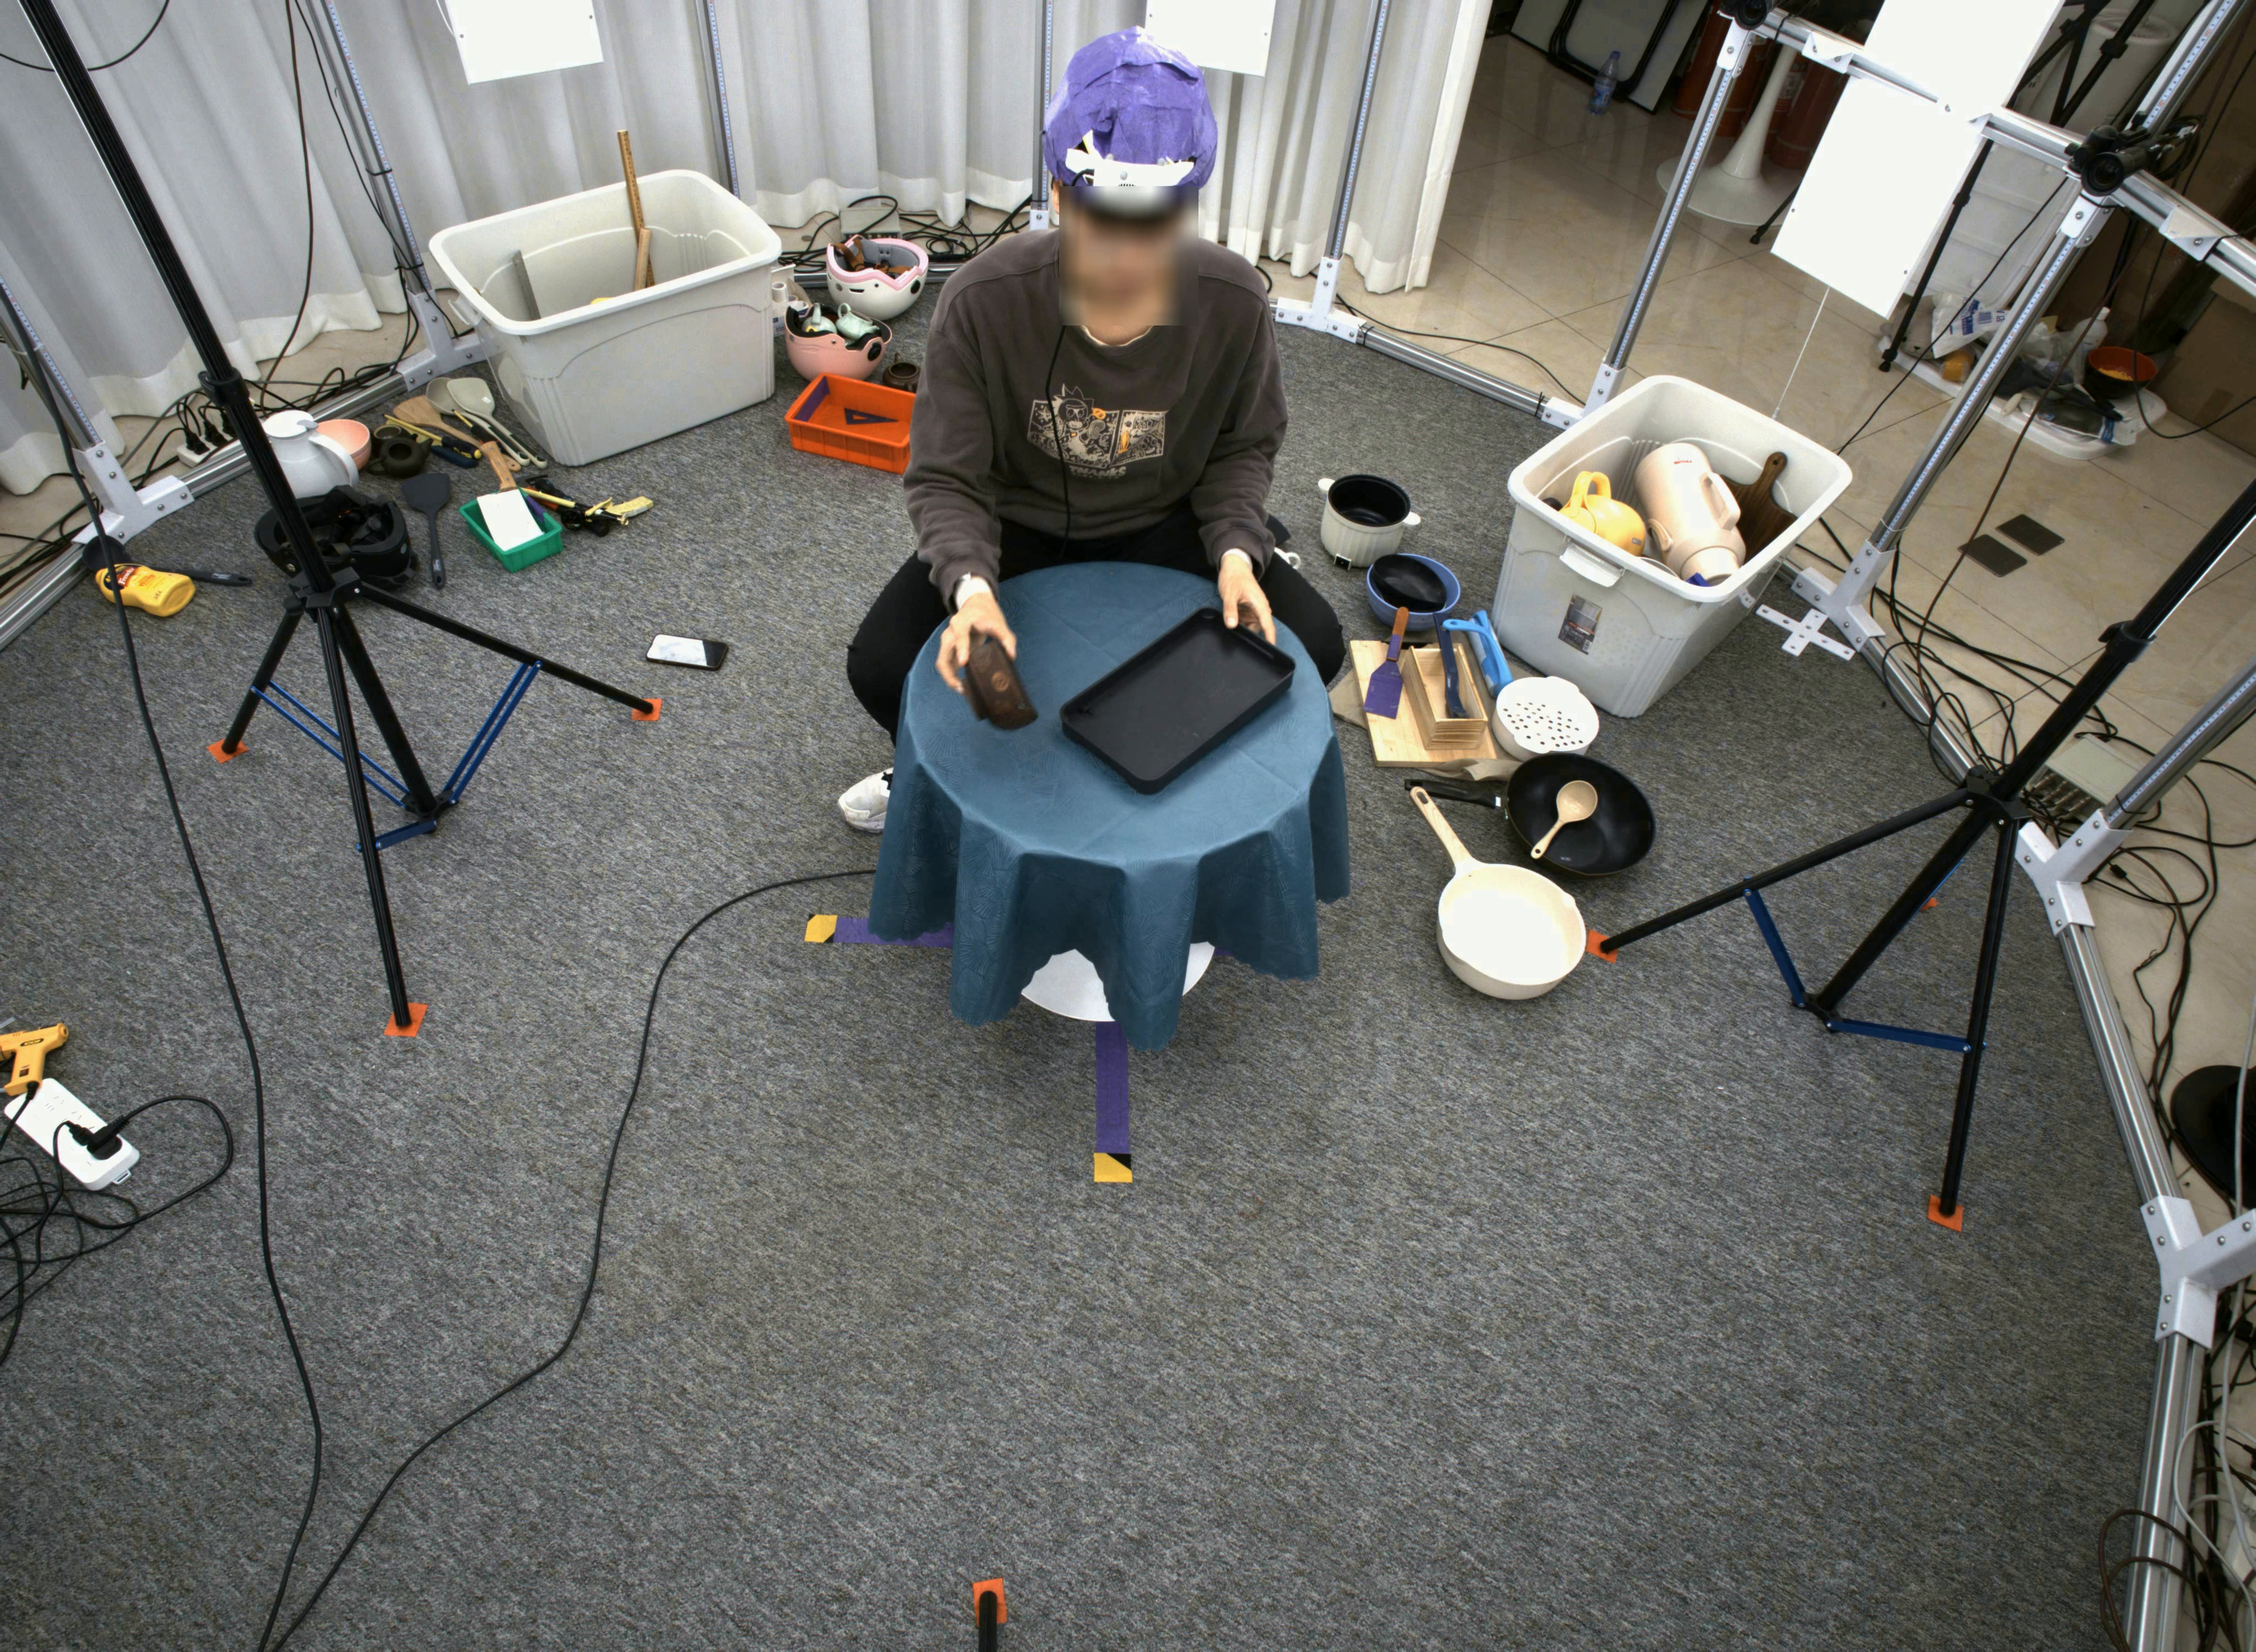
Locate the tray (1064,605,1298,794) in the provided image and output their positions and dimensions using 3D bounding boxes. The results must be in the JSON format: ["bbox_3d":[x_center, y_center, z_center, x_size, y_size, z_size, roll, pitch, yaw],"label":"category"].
[{"bbox_3d":[0.077,-0.184,1.799,0.187,0.036,0.321,36,59,26],"label":"tray"}]

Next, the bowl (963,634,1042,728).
[{"bbox_3d":[-0.167,-0.178,1.639,0.070,0.115,0.121,-27,53,1],"label":"bowl"}]
